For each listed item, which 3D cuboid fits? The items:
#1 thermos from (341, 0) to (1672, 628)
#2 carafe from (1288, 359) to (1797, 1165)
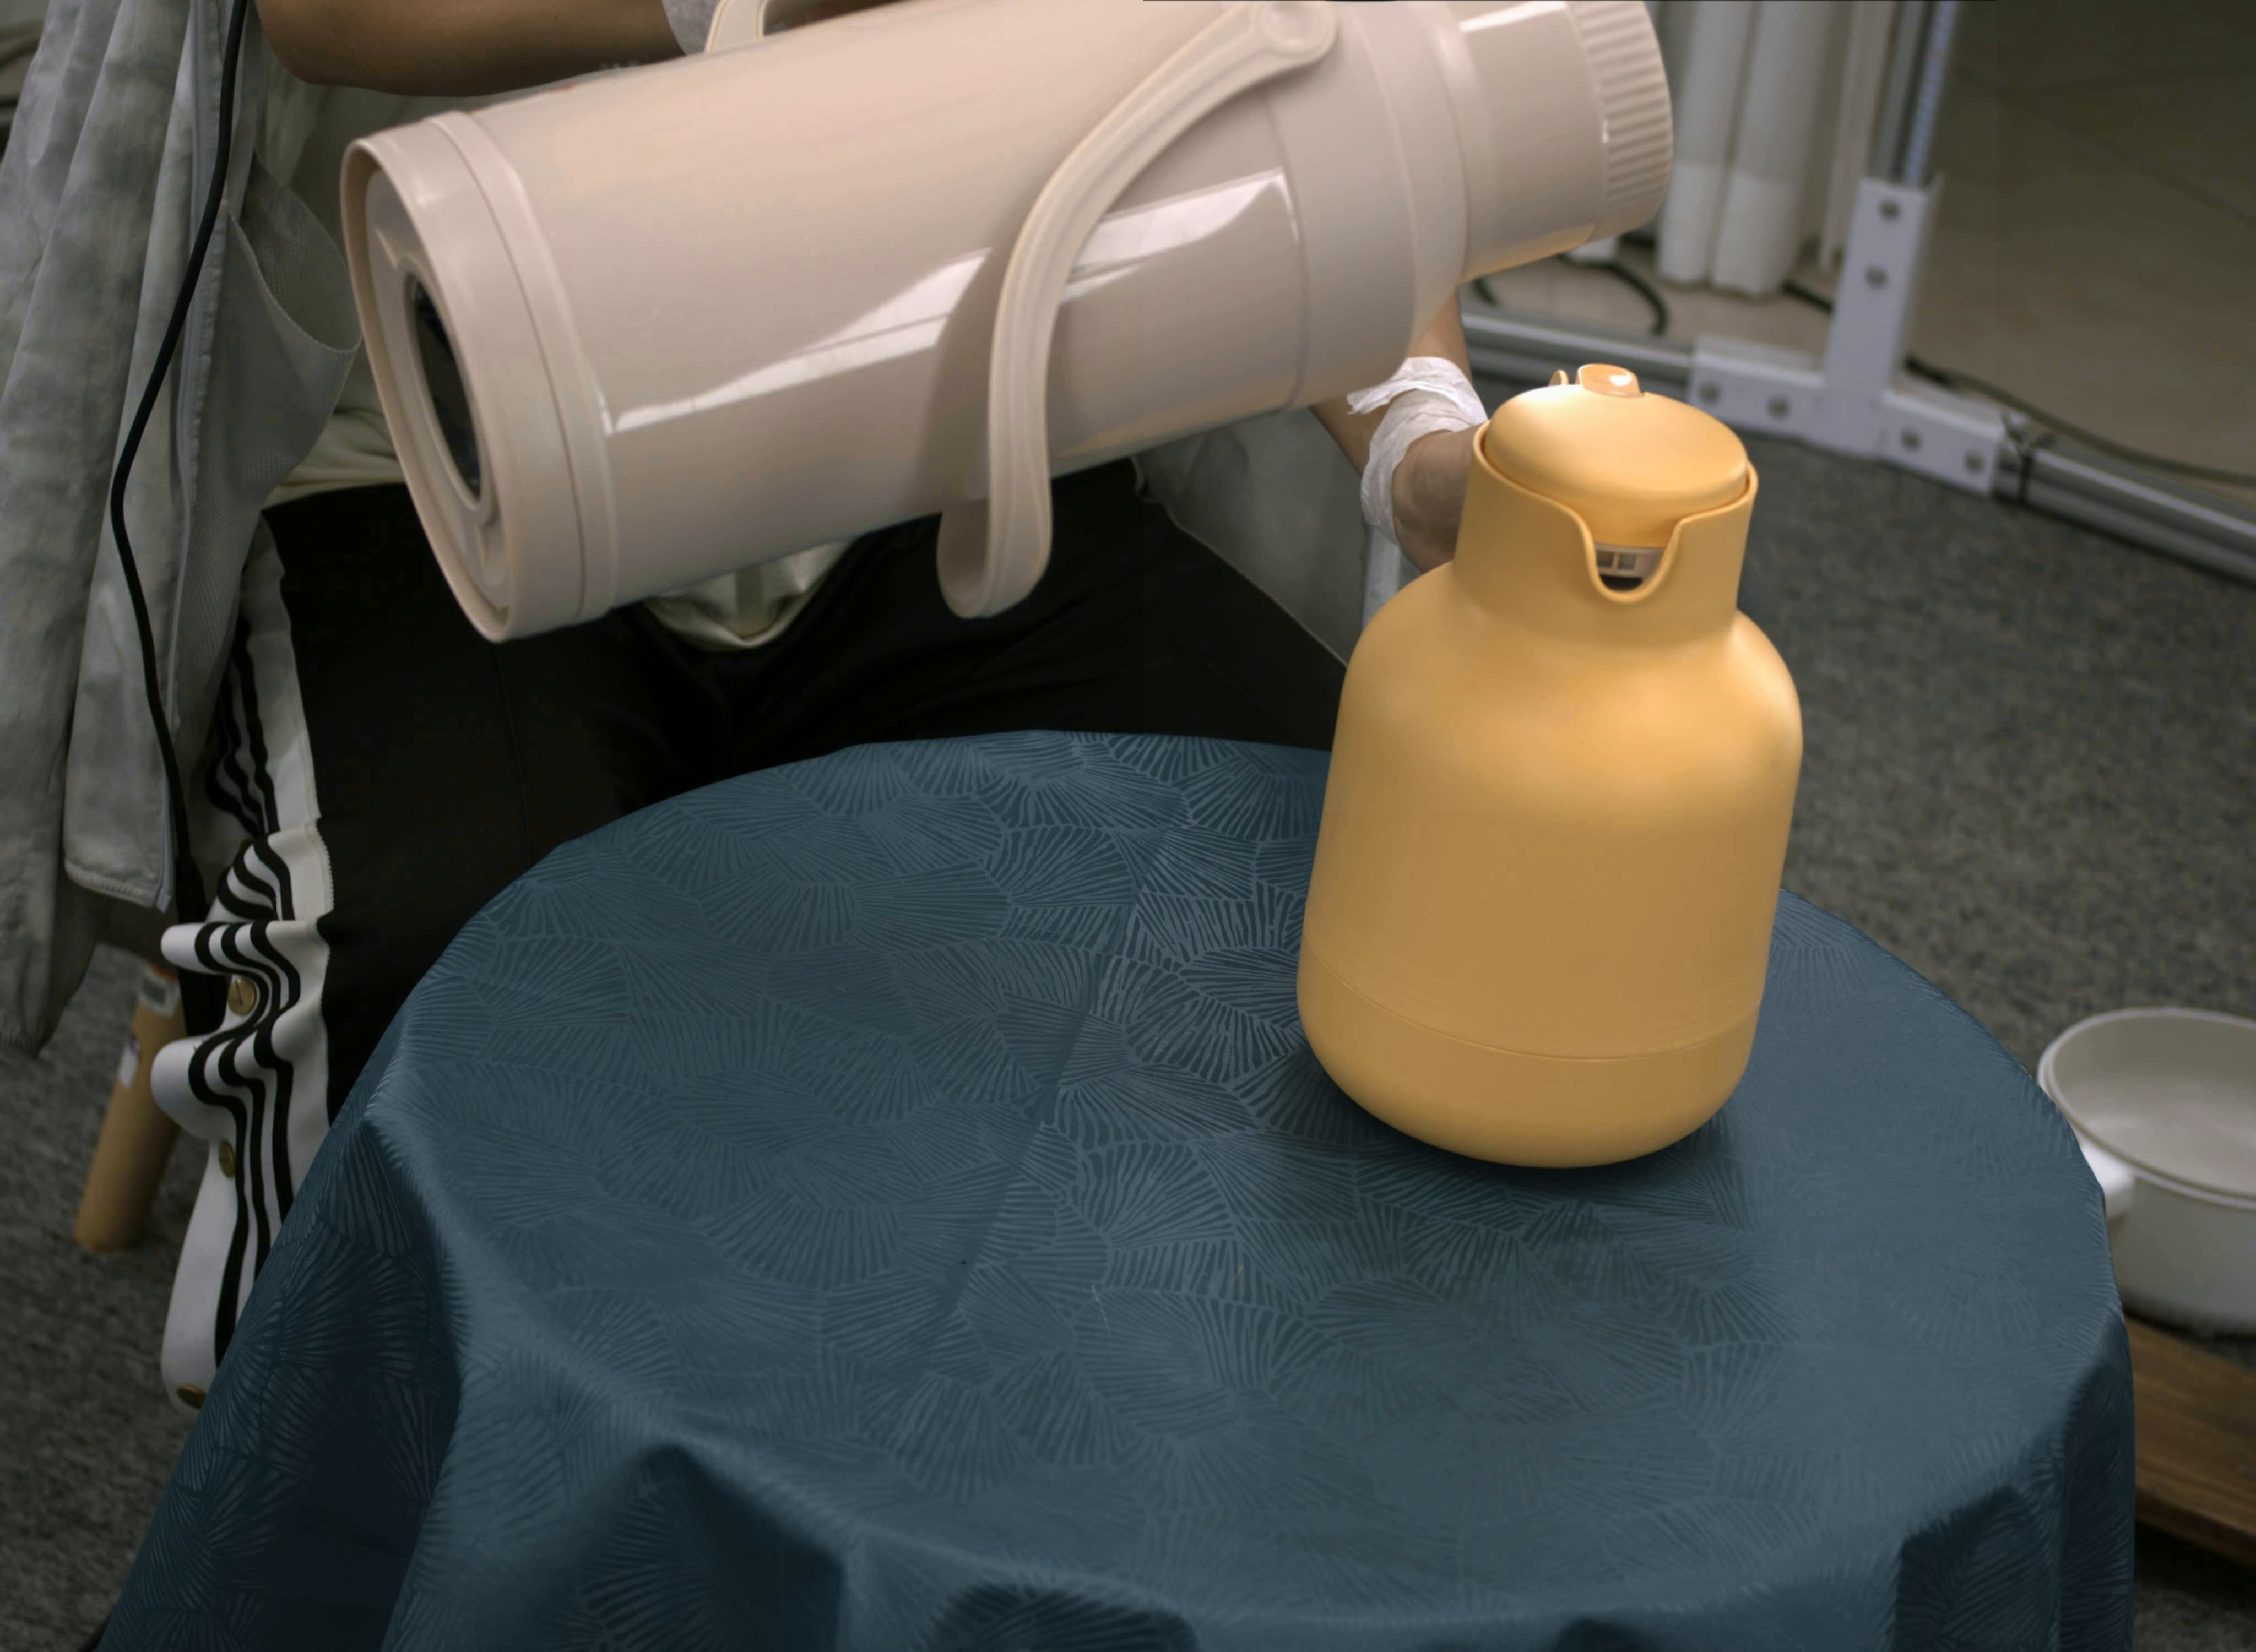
[{"bbox_3d":[-0.038,-0.201,1.670,0.404,0.174,0.208,-17,68,-15],"label":"thermos"},{"bbox_3d":[0.151,-0.031,1.856,0.163,0.259,0.203,9,28,-1],"label":"carafe"}]
